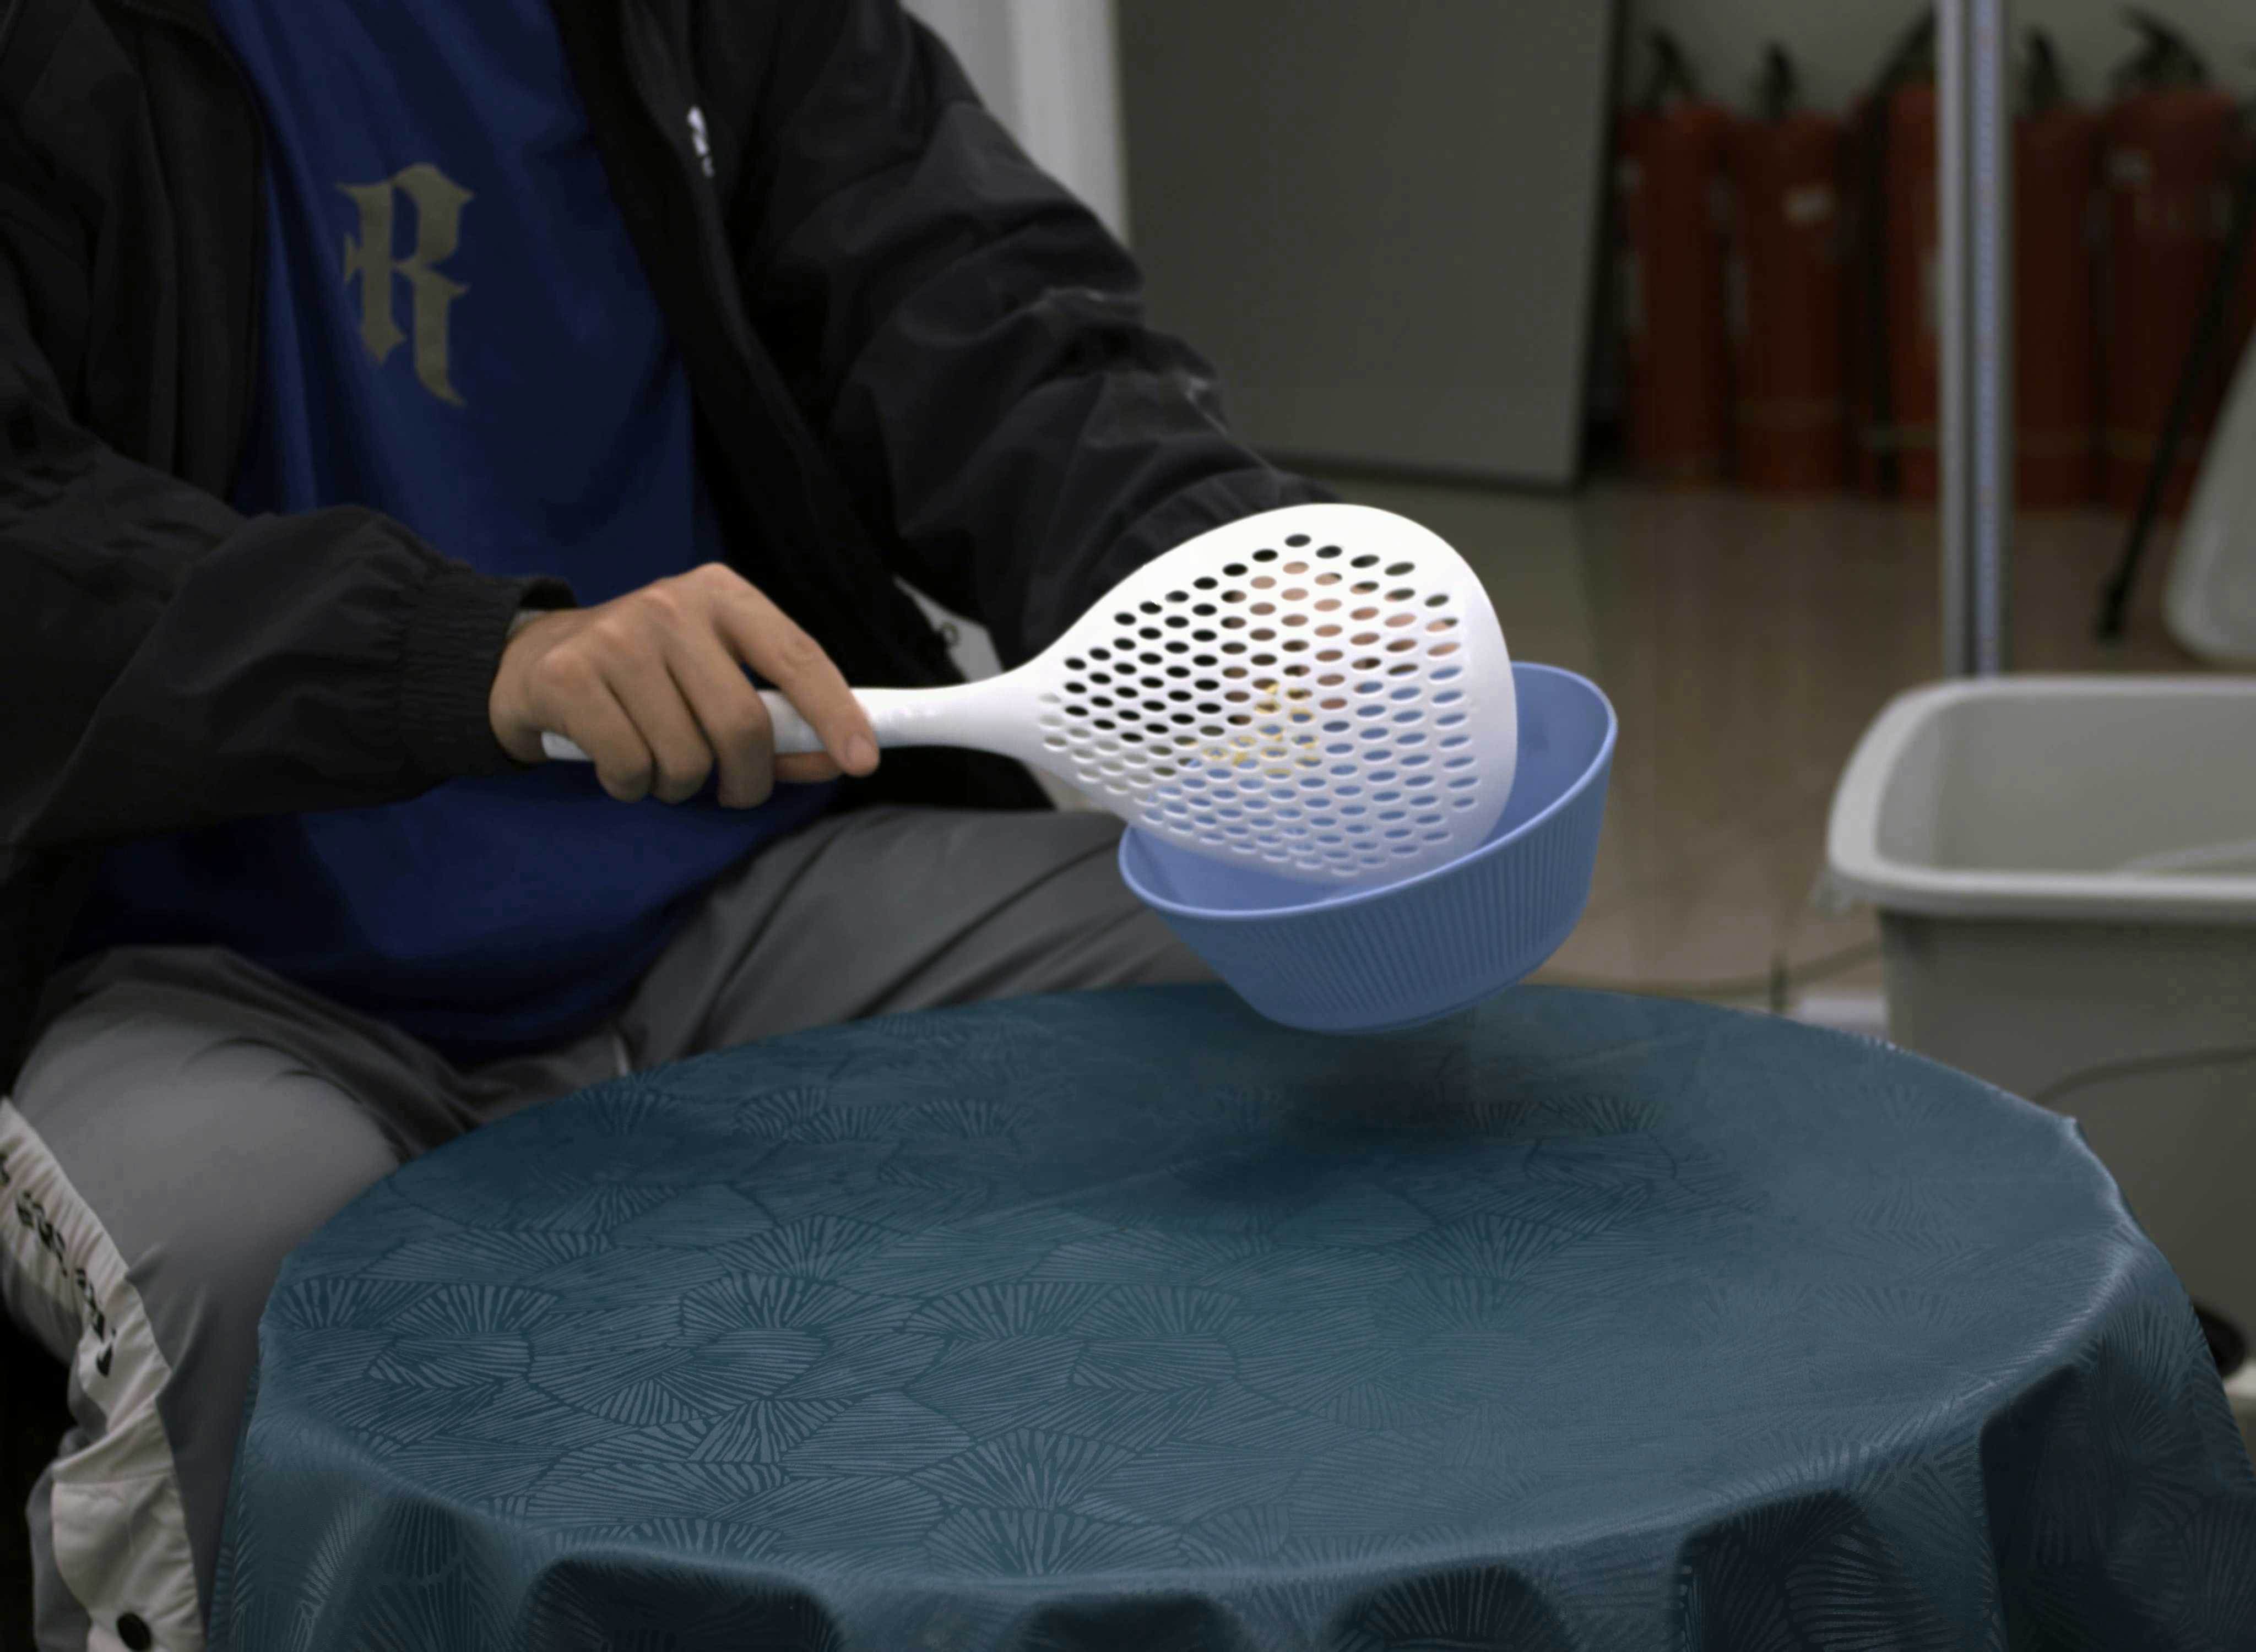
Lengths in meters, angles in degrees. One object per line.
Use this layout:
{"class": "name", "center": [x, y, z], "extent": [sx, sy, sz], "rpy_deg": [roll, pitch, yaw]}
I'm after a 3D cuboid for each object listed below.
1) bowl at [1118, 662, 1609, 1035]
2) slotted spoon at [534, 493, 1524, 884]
{"class": "bowl", "center": [0.088, 0.014, 1.818], "extent": [0.175, 0.070, 0.176], "rpy_deg": [-19, 21, 6]}
{"class": "slotted spoon", "center": [-0.036, -0.038, 1.832], "extent": [0.348, 0.138, 0.050], "rpy_deg": [0, 19, 23]}
